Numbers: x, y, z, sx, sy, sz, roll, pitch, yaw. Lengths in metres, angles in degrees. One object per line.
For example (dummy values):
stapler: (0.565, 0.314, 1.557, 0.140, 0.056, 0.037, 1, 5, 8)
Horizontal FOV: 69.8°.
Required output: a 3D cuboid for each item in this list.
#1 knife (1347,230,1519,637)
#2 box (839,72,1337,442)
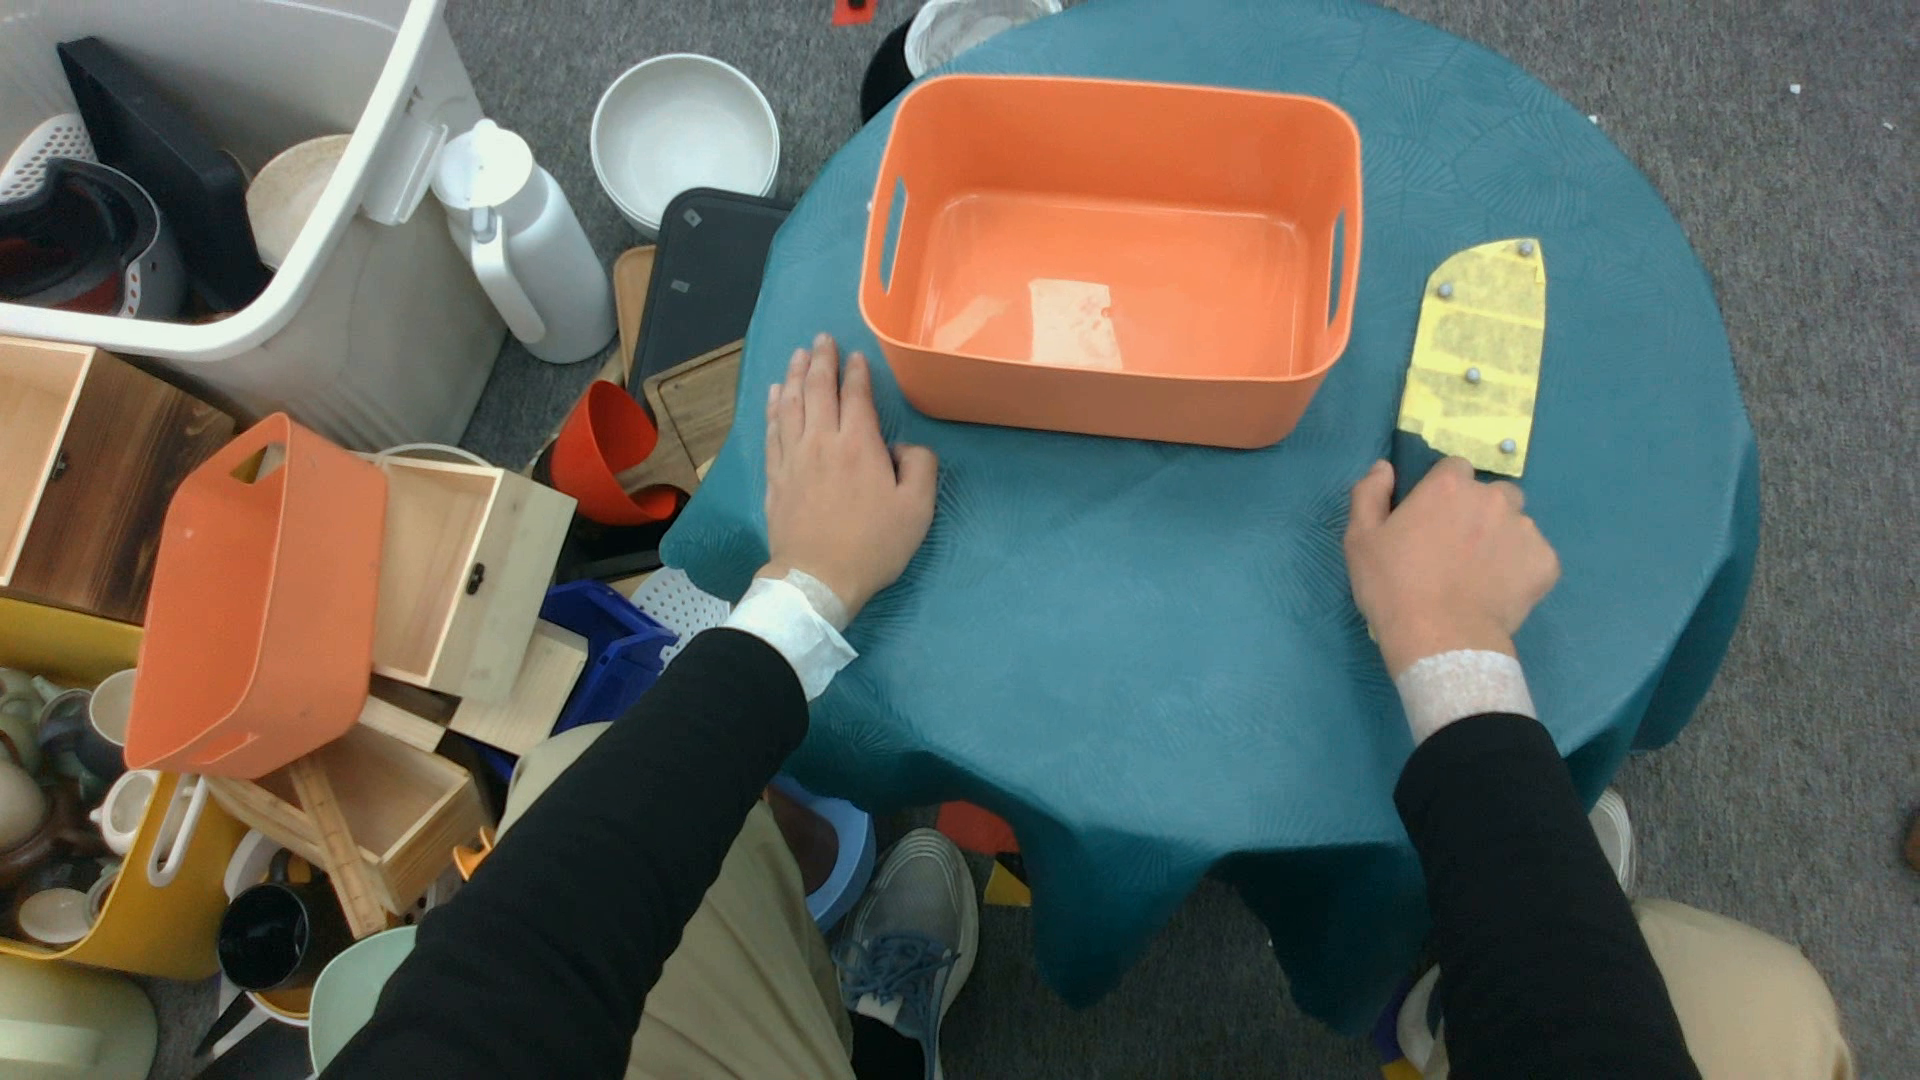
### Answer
knife: (0.280, -0.070, 0.810, 0.081, 0.027, 0.290, 16, 67, 14)
box: (0.076, -0.162, 0.816, 0.273, 0.102, 0.200, 6, 65, 6)
